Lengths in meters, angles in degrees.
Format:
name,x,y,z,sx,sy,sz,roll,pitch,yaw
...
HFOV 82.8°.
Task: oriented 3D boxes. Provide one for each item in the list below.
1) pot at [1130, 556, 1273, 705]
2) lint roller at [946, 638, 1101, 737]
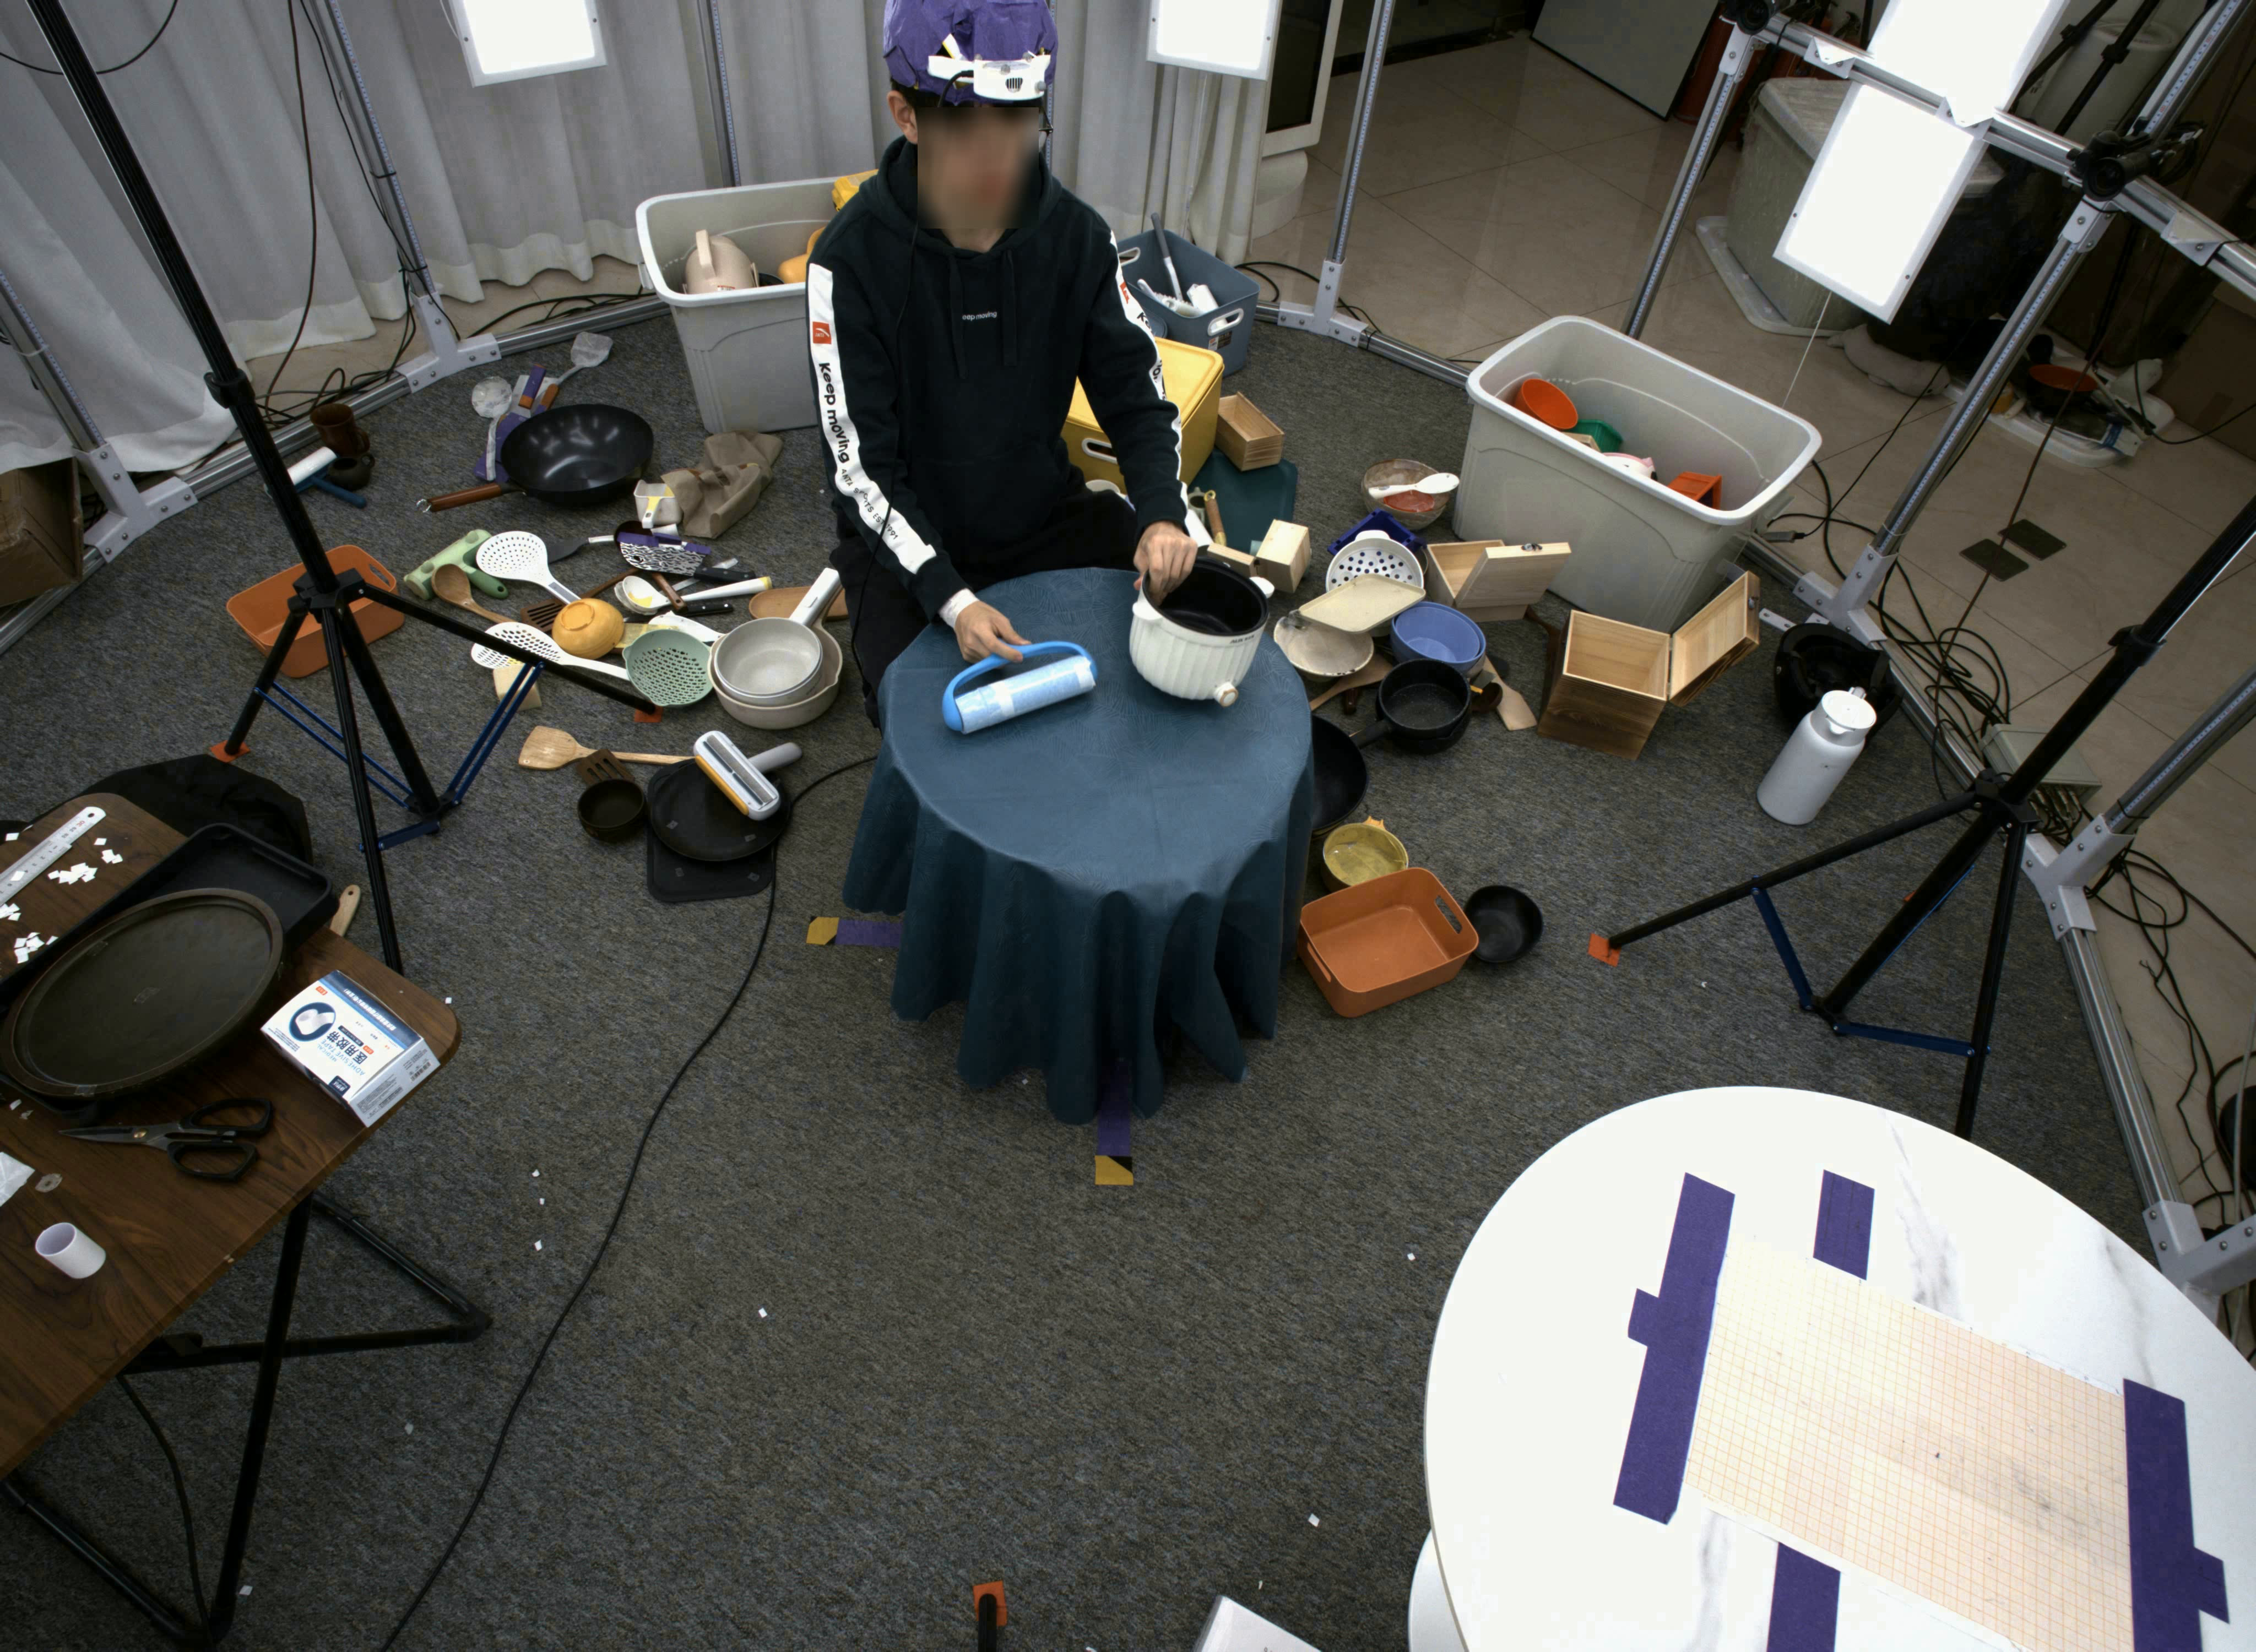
name,x,y,z,sx,sy,sz,roll,pitch,yaw
pot,0.099,-0.270,1.809,0.241,0.139,0.194,-19,48,-32
lint roller,-0.172,-0.222,1.809,0.230,0.066,0.184,-26,54,-18
